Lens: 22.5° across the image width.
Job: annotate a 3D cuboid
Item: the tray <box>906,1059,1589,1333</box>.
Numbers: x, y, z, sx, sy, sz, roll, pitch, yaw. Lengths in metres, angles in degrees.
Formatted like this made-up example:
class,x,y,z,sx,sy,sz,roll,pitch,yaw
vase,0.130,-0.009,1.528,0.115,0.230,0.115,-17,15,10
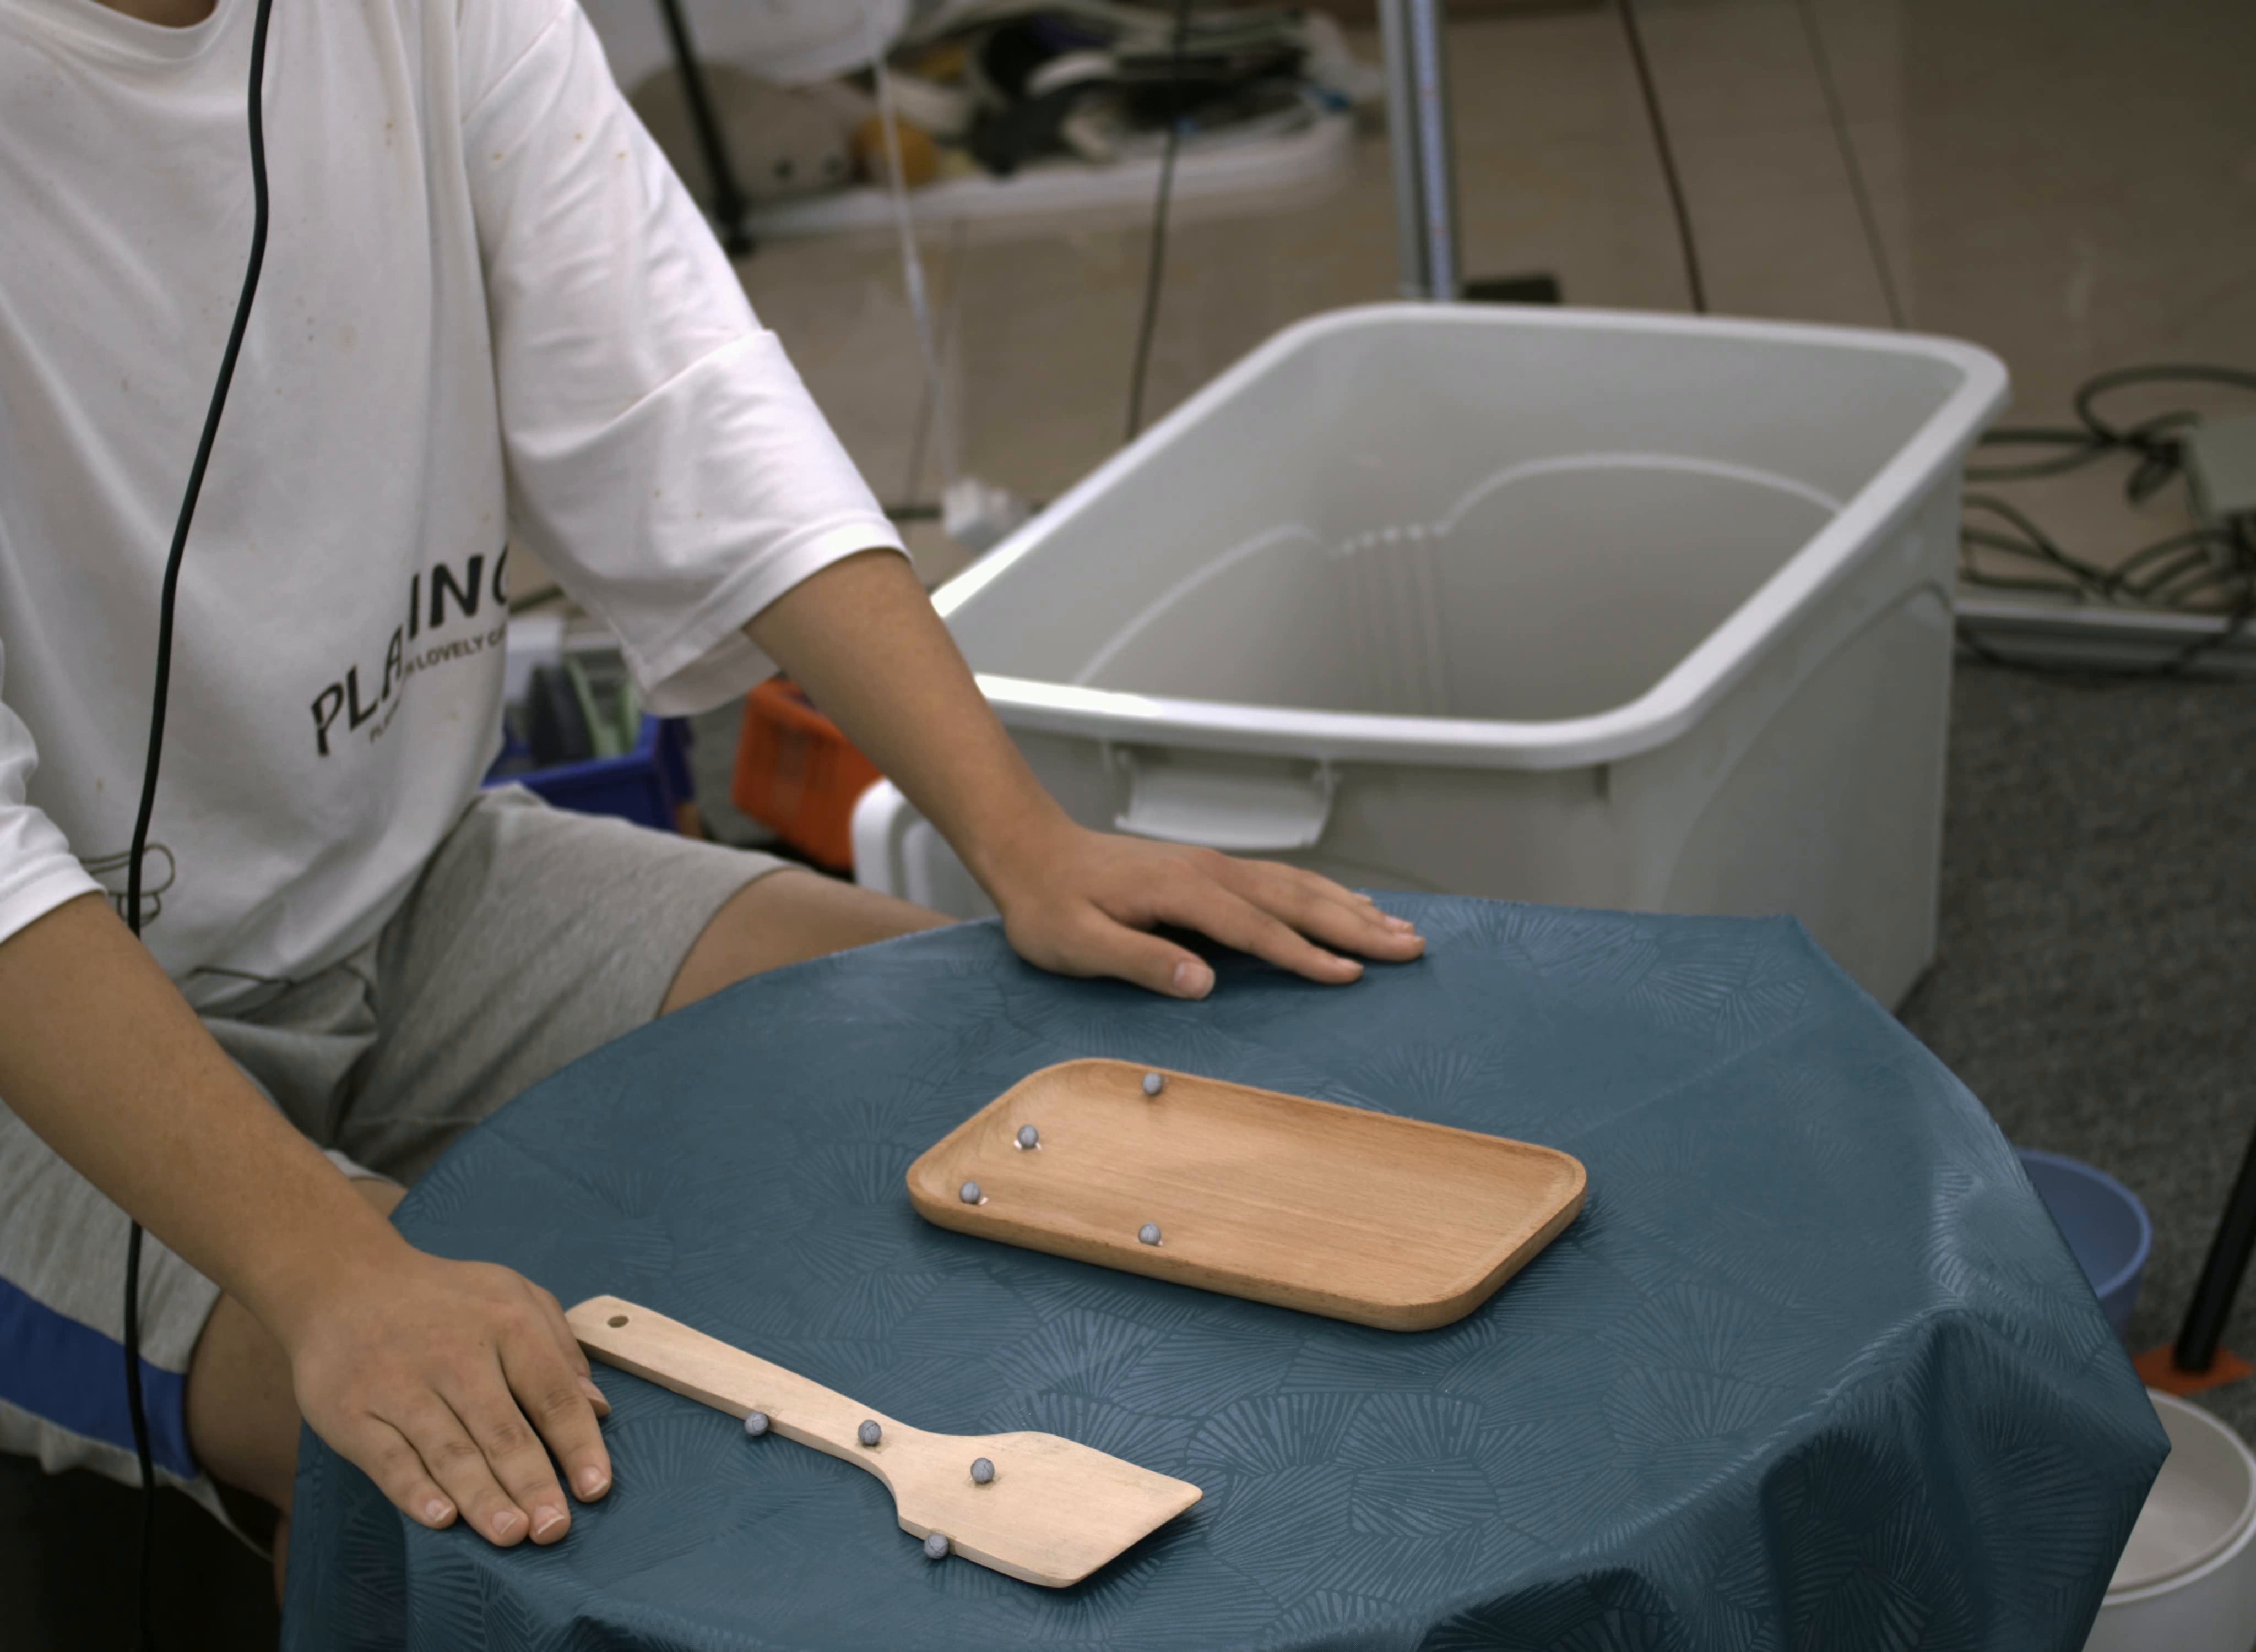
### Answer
class,x,y,z,sx,sy,sz,roll,pitch,yaw
tray,0.043,0.137,2.120,0.249,0.023,0.129,12,33,34

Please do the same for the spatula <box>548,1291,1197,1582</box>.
class,x,y,z,sx,sy,sz,roll,pitch,yaw
spatula,-0.103,0.210,2.006,0.291,0.011,0.071,16,34,40
